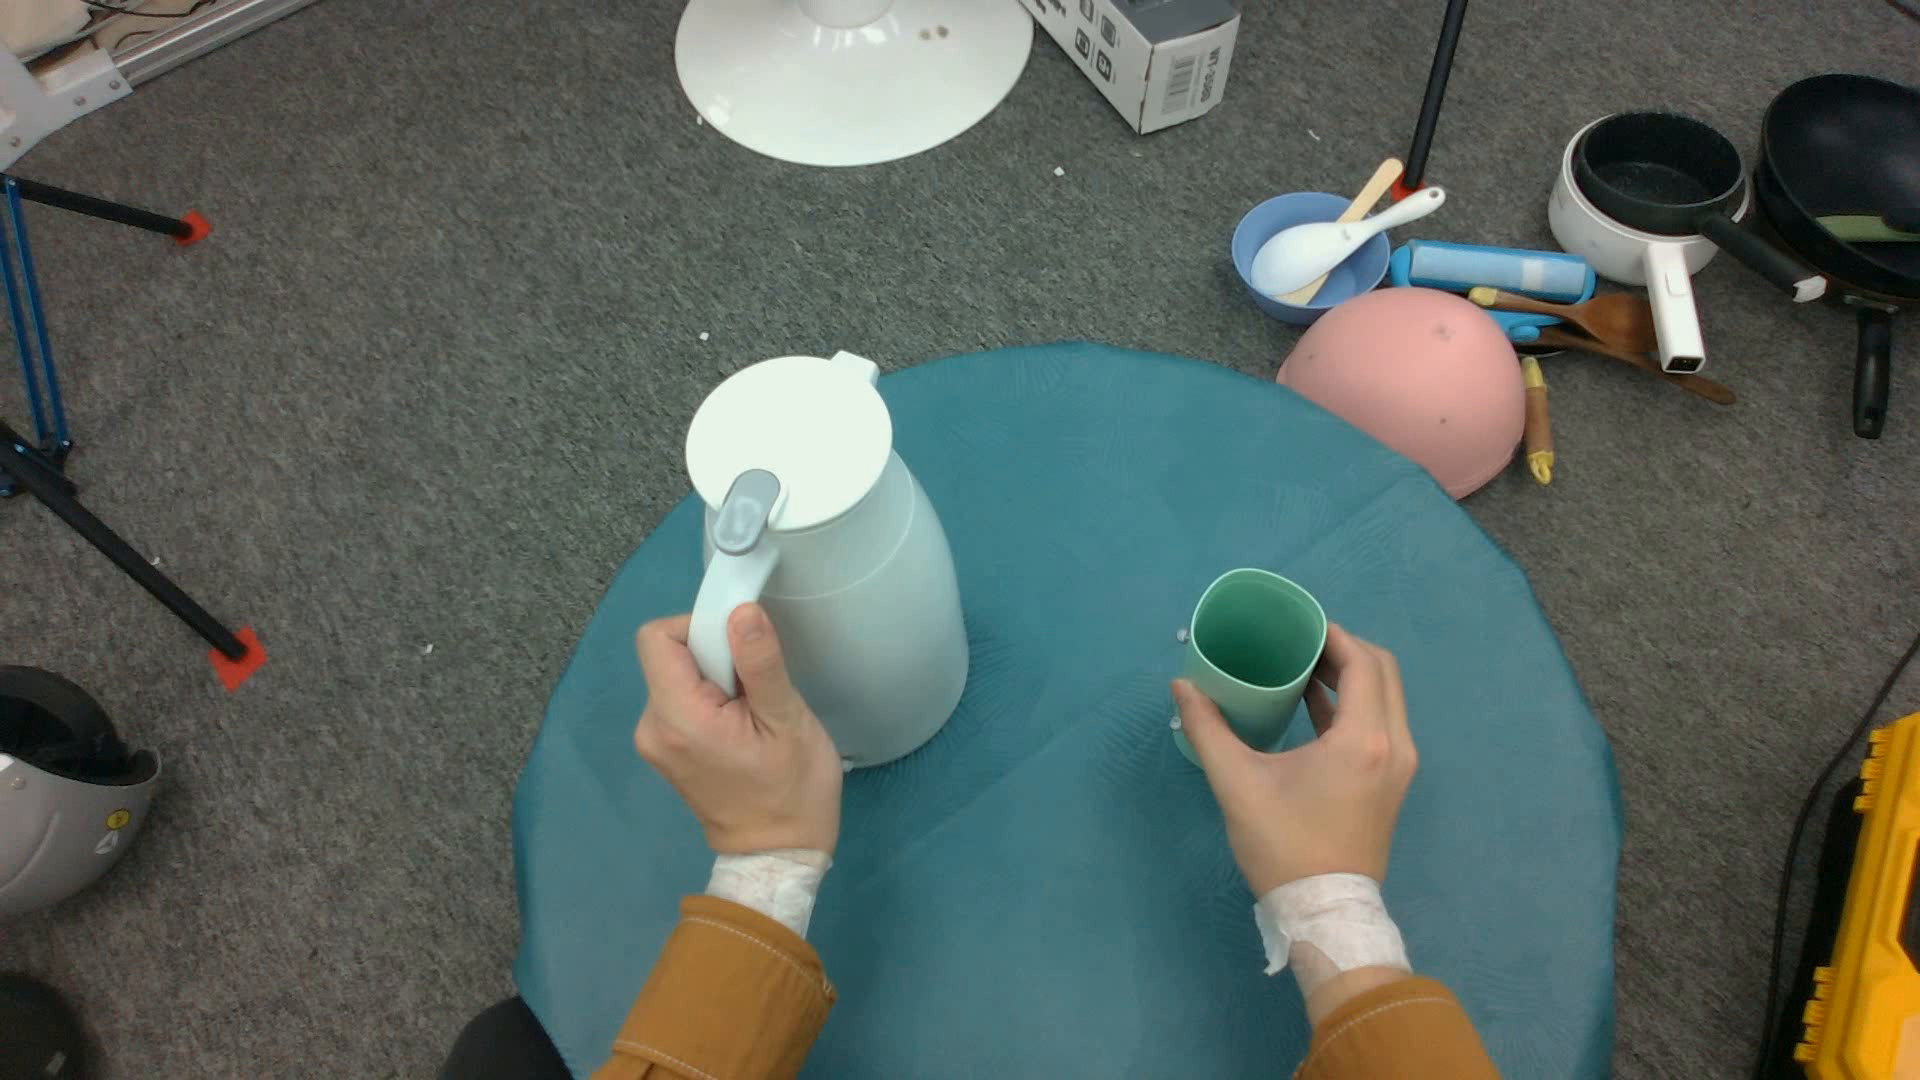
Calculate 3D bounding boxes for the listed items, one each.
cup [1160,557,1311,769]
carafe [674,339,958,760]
[{"bbox_3d":[0.144,0.069,0.729,0.067,0.132,0.067,-1,61,3],"label":"cup"},{"bbox_3d":[-0.081,0.023,0.696,0.132,0.247,0.168,20,64,14],"label":"carafe"}]
